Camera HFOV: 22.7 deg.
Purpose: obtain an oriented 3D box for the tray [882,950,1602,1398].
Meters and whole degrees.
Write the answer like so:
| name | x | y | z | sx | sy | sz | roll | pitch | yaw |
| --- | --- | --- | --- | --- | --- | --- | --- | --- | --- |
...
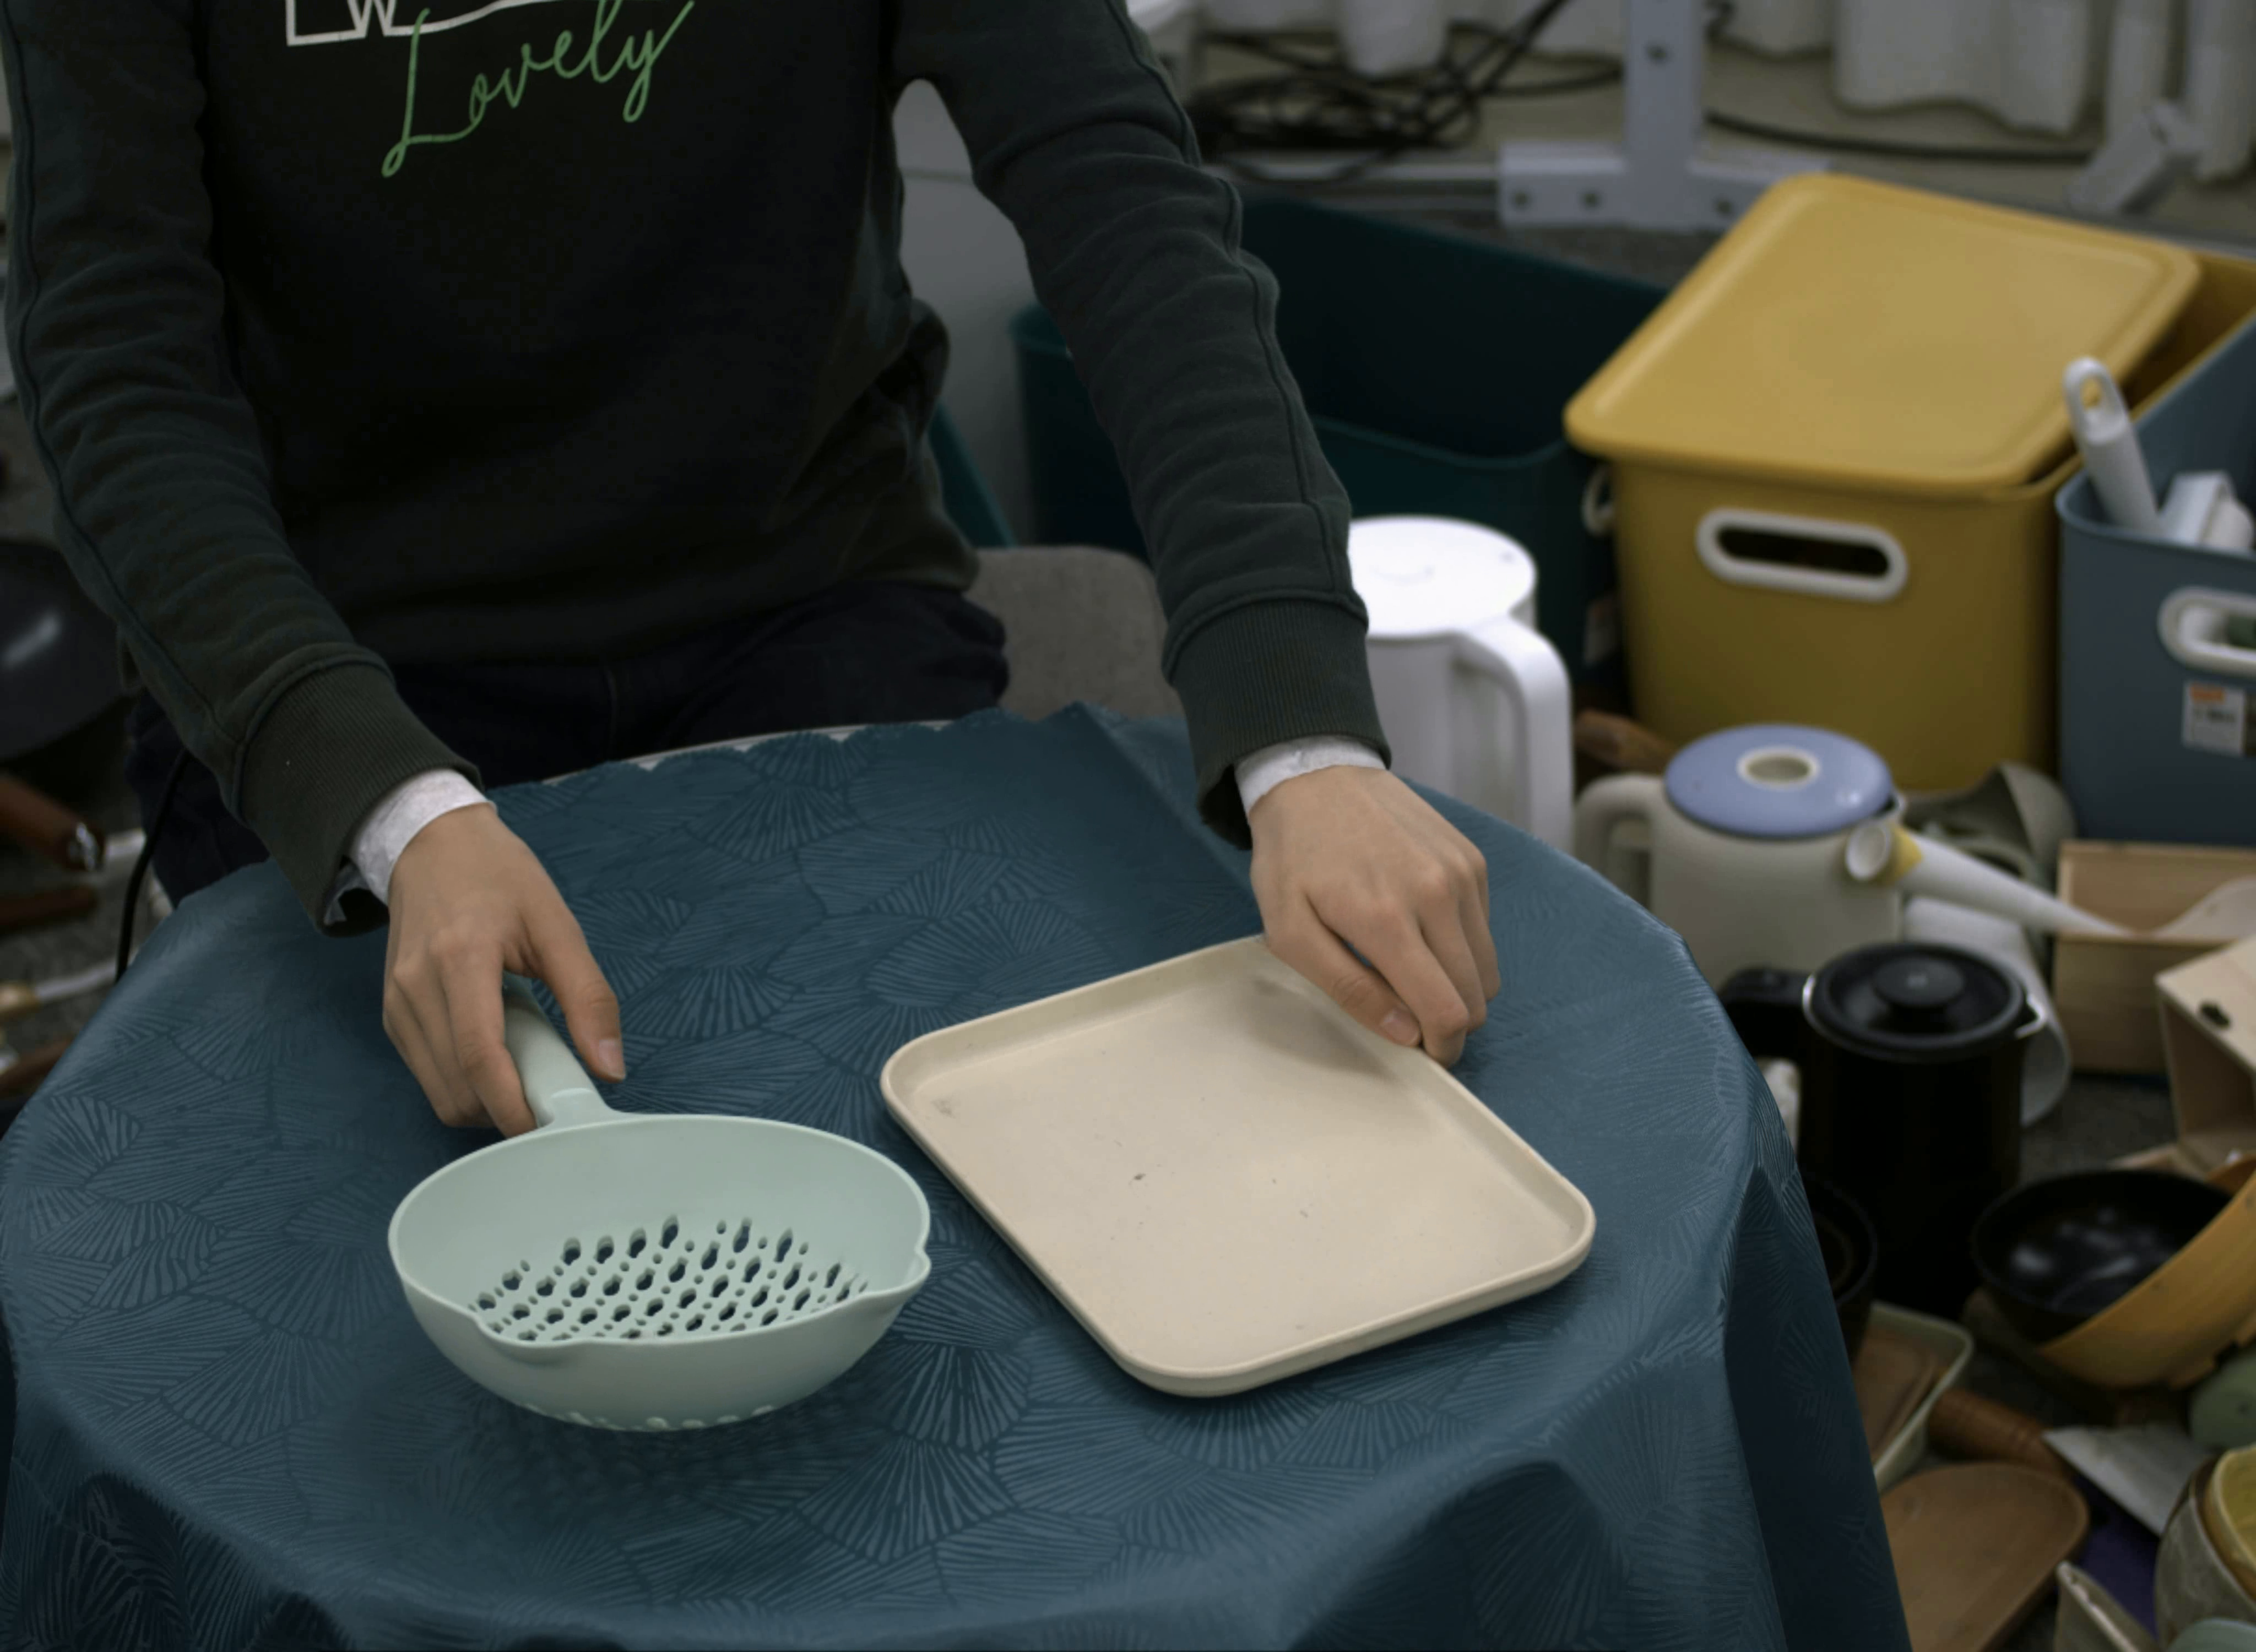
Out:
| name | x | y | z | sx | sy | sz | roll | pitch | yaw |
| --- | --- | --- | --- | --- | --- | --- | --- | --- | --- |
| tray | 0.034 | 0.113 | 1.852 | 0.172 | 0.017 | 0.241 | -17 | 29 | -21 |

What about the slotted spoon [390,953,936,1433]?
| name | x | y | z | sx | sy | sz | roll | pitch | yaw |
| --- | --- | --- | --- | --- | --- | --- | --- | --- | --- |
| slotted spoon | -0.177 | 0.104 | 1.837 | 0.169 | 0.074 | 0.362 | -6 | 28 | -19 |
